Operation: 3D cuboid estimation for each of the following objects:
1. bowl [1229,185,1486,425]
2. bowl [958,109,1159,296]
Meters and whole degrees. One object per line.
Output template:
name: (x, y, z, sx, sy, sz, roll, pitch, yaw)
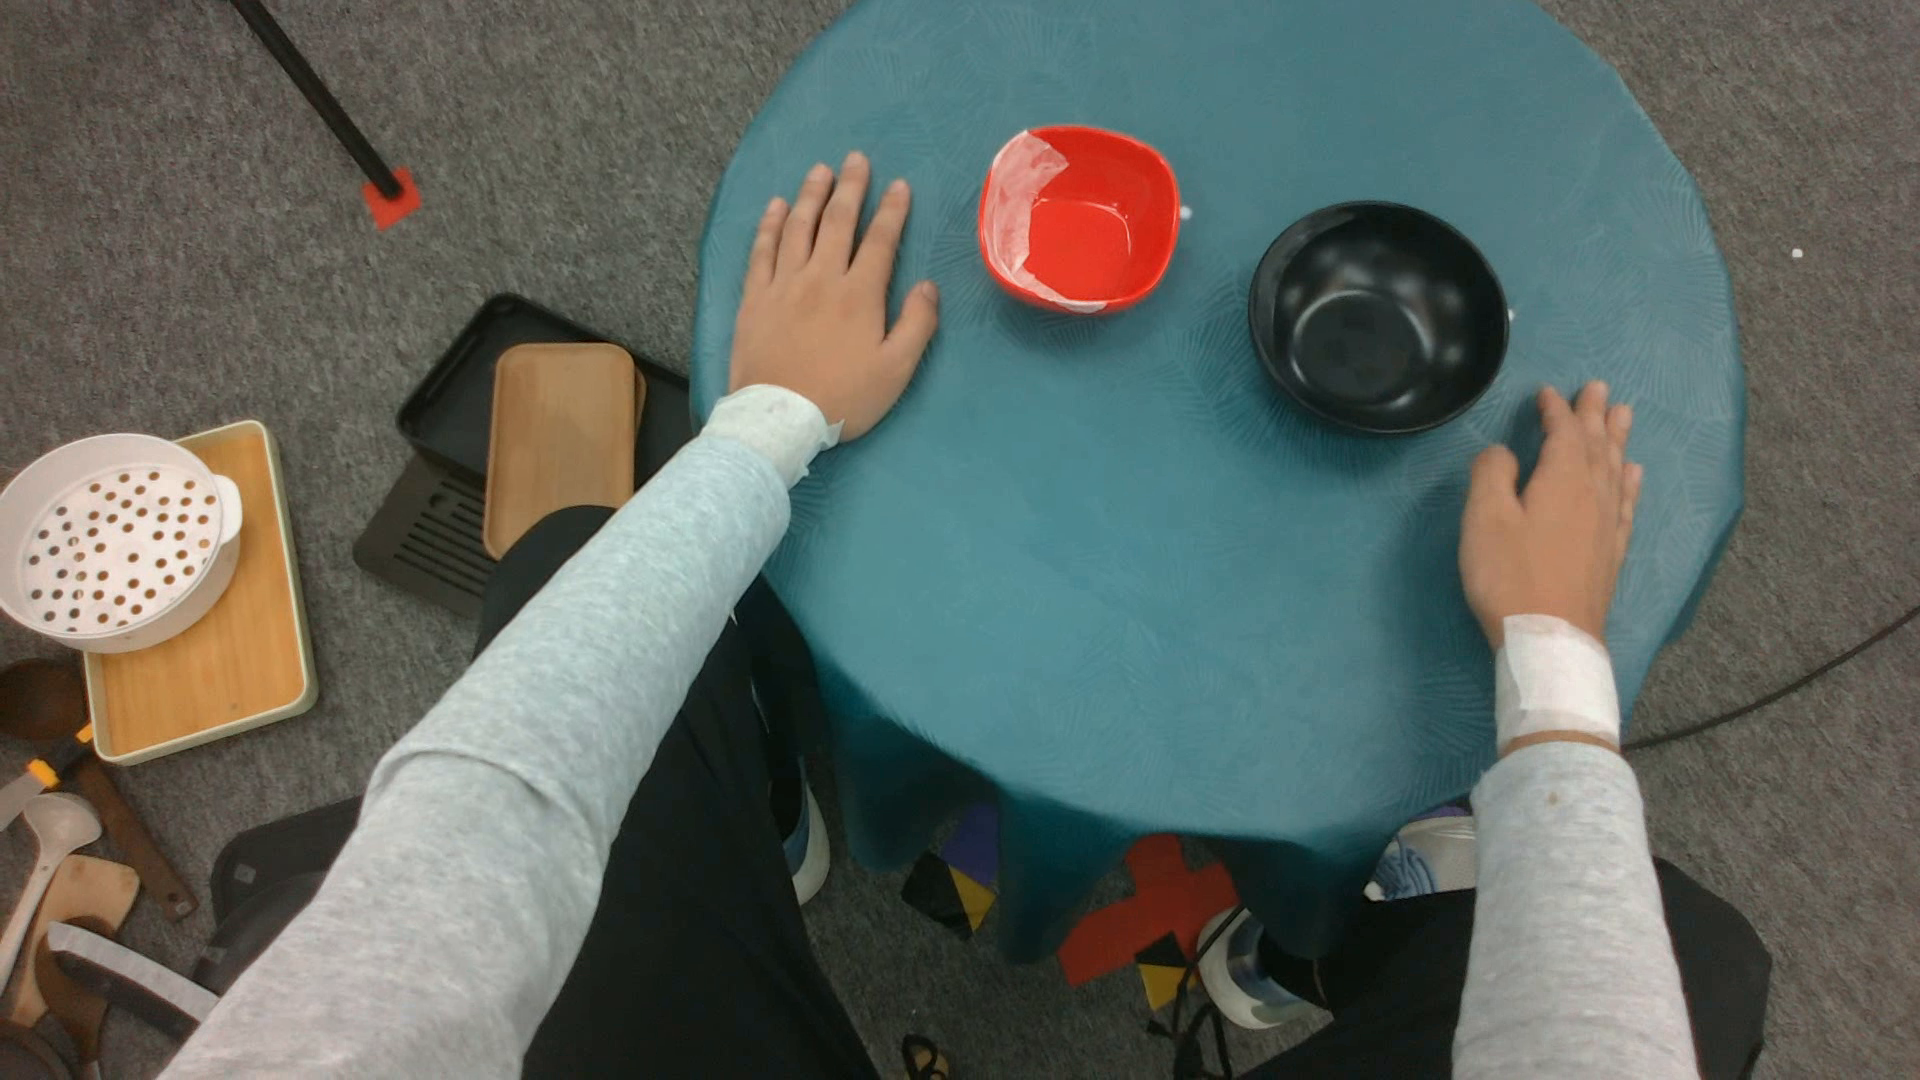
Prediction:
bowl: (0.215, -0.124, 0.766, 0.140, 0.049, 0.140, 0, 75, 0)
bowl: (0.053, -0.181, 0.777, 0.119, 0.051, 0.119, 1, 71, -2)
